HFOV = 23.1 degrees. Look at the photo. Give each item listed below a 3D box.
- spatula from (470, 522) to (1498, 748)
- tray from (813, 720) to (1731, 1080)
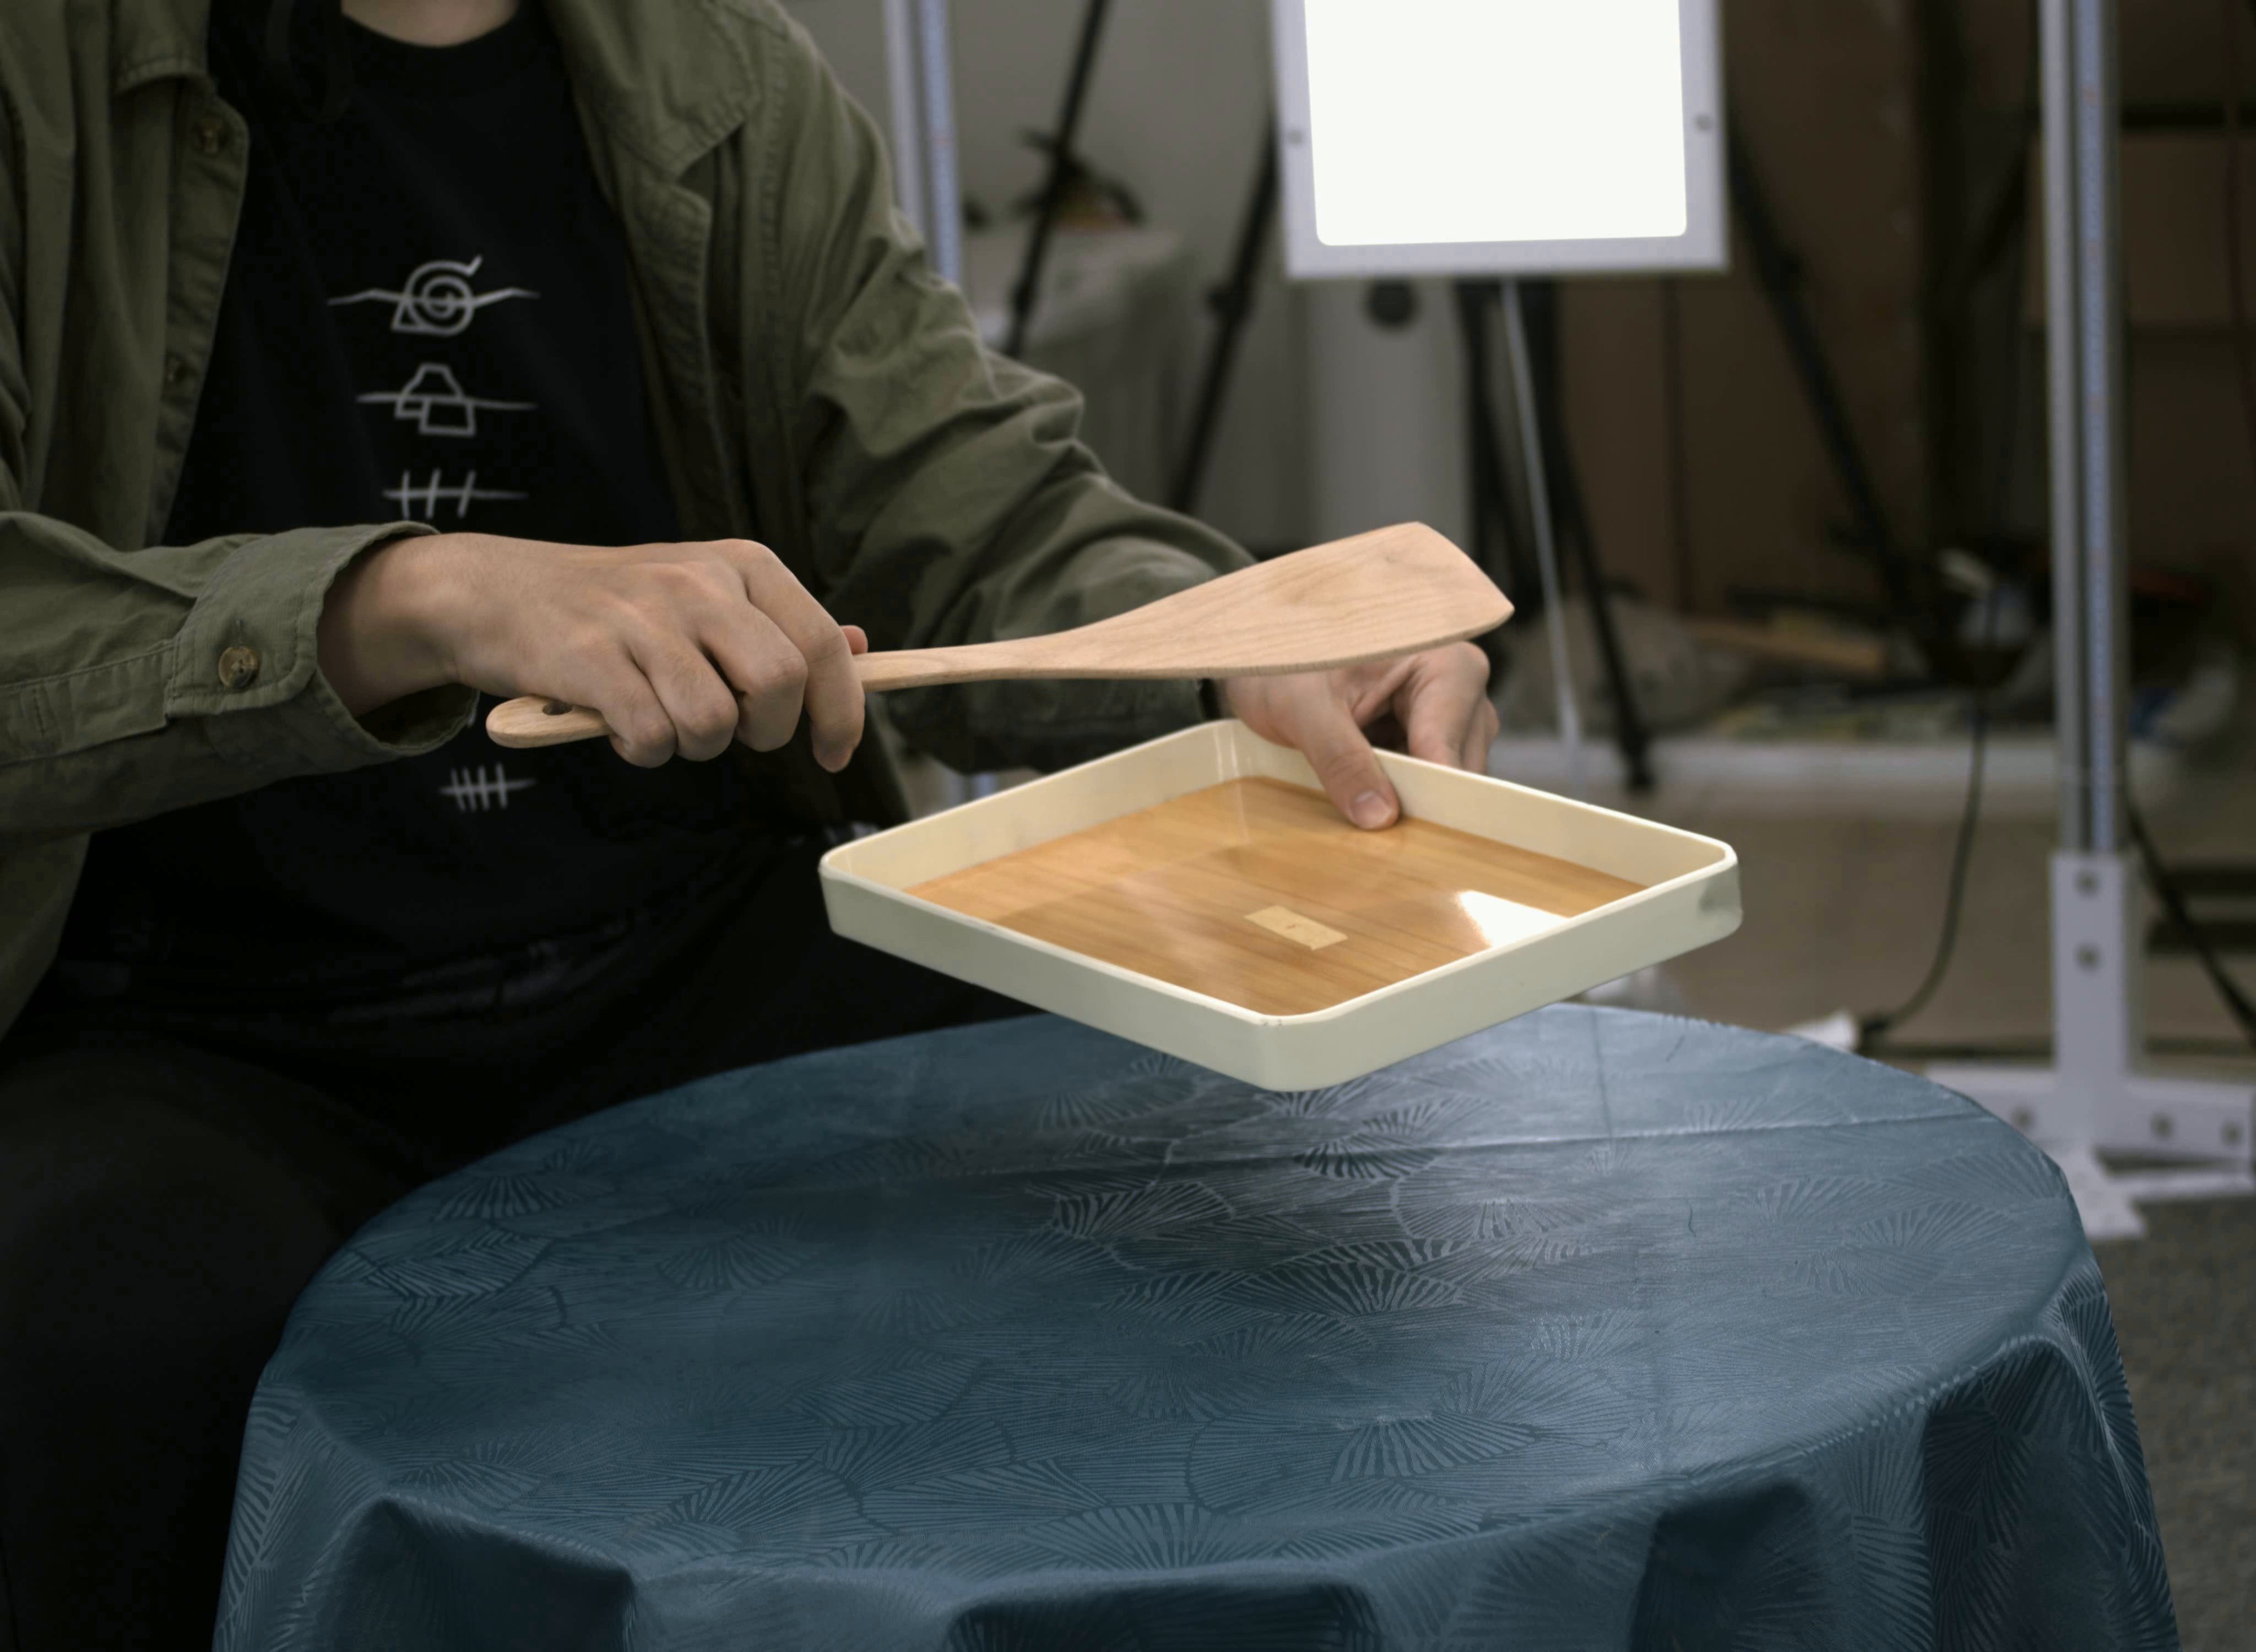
[{"bbox_3d":[-0.048,-0.057,1.754,0.324,0.016,0.080,-8,30,-7],"label":"spatula"},{"bbox_3d":[0.043,0.020,1.846,0.187,0.027,0.306,-19,18,-28],"label":"tray"}]
